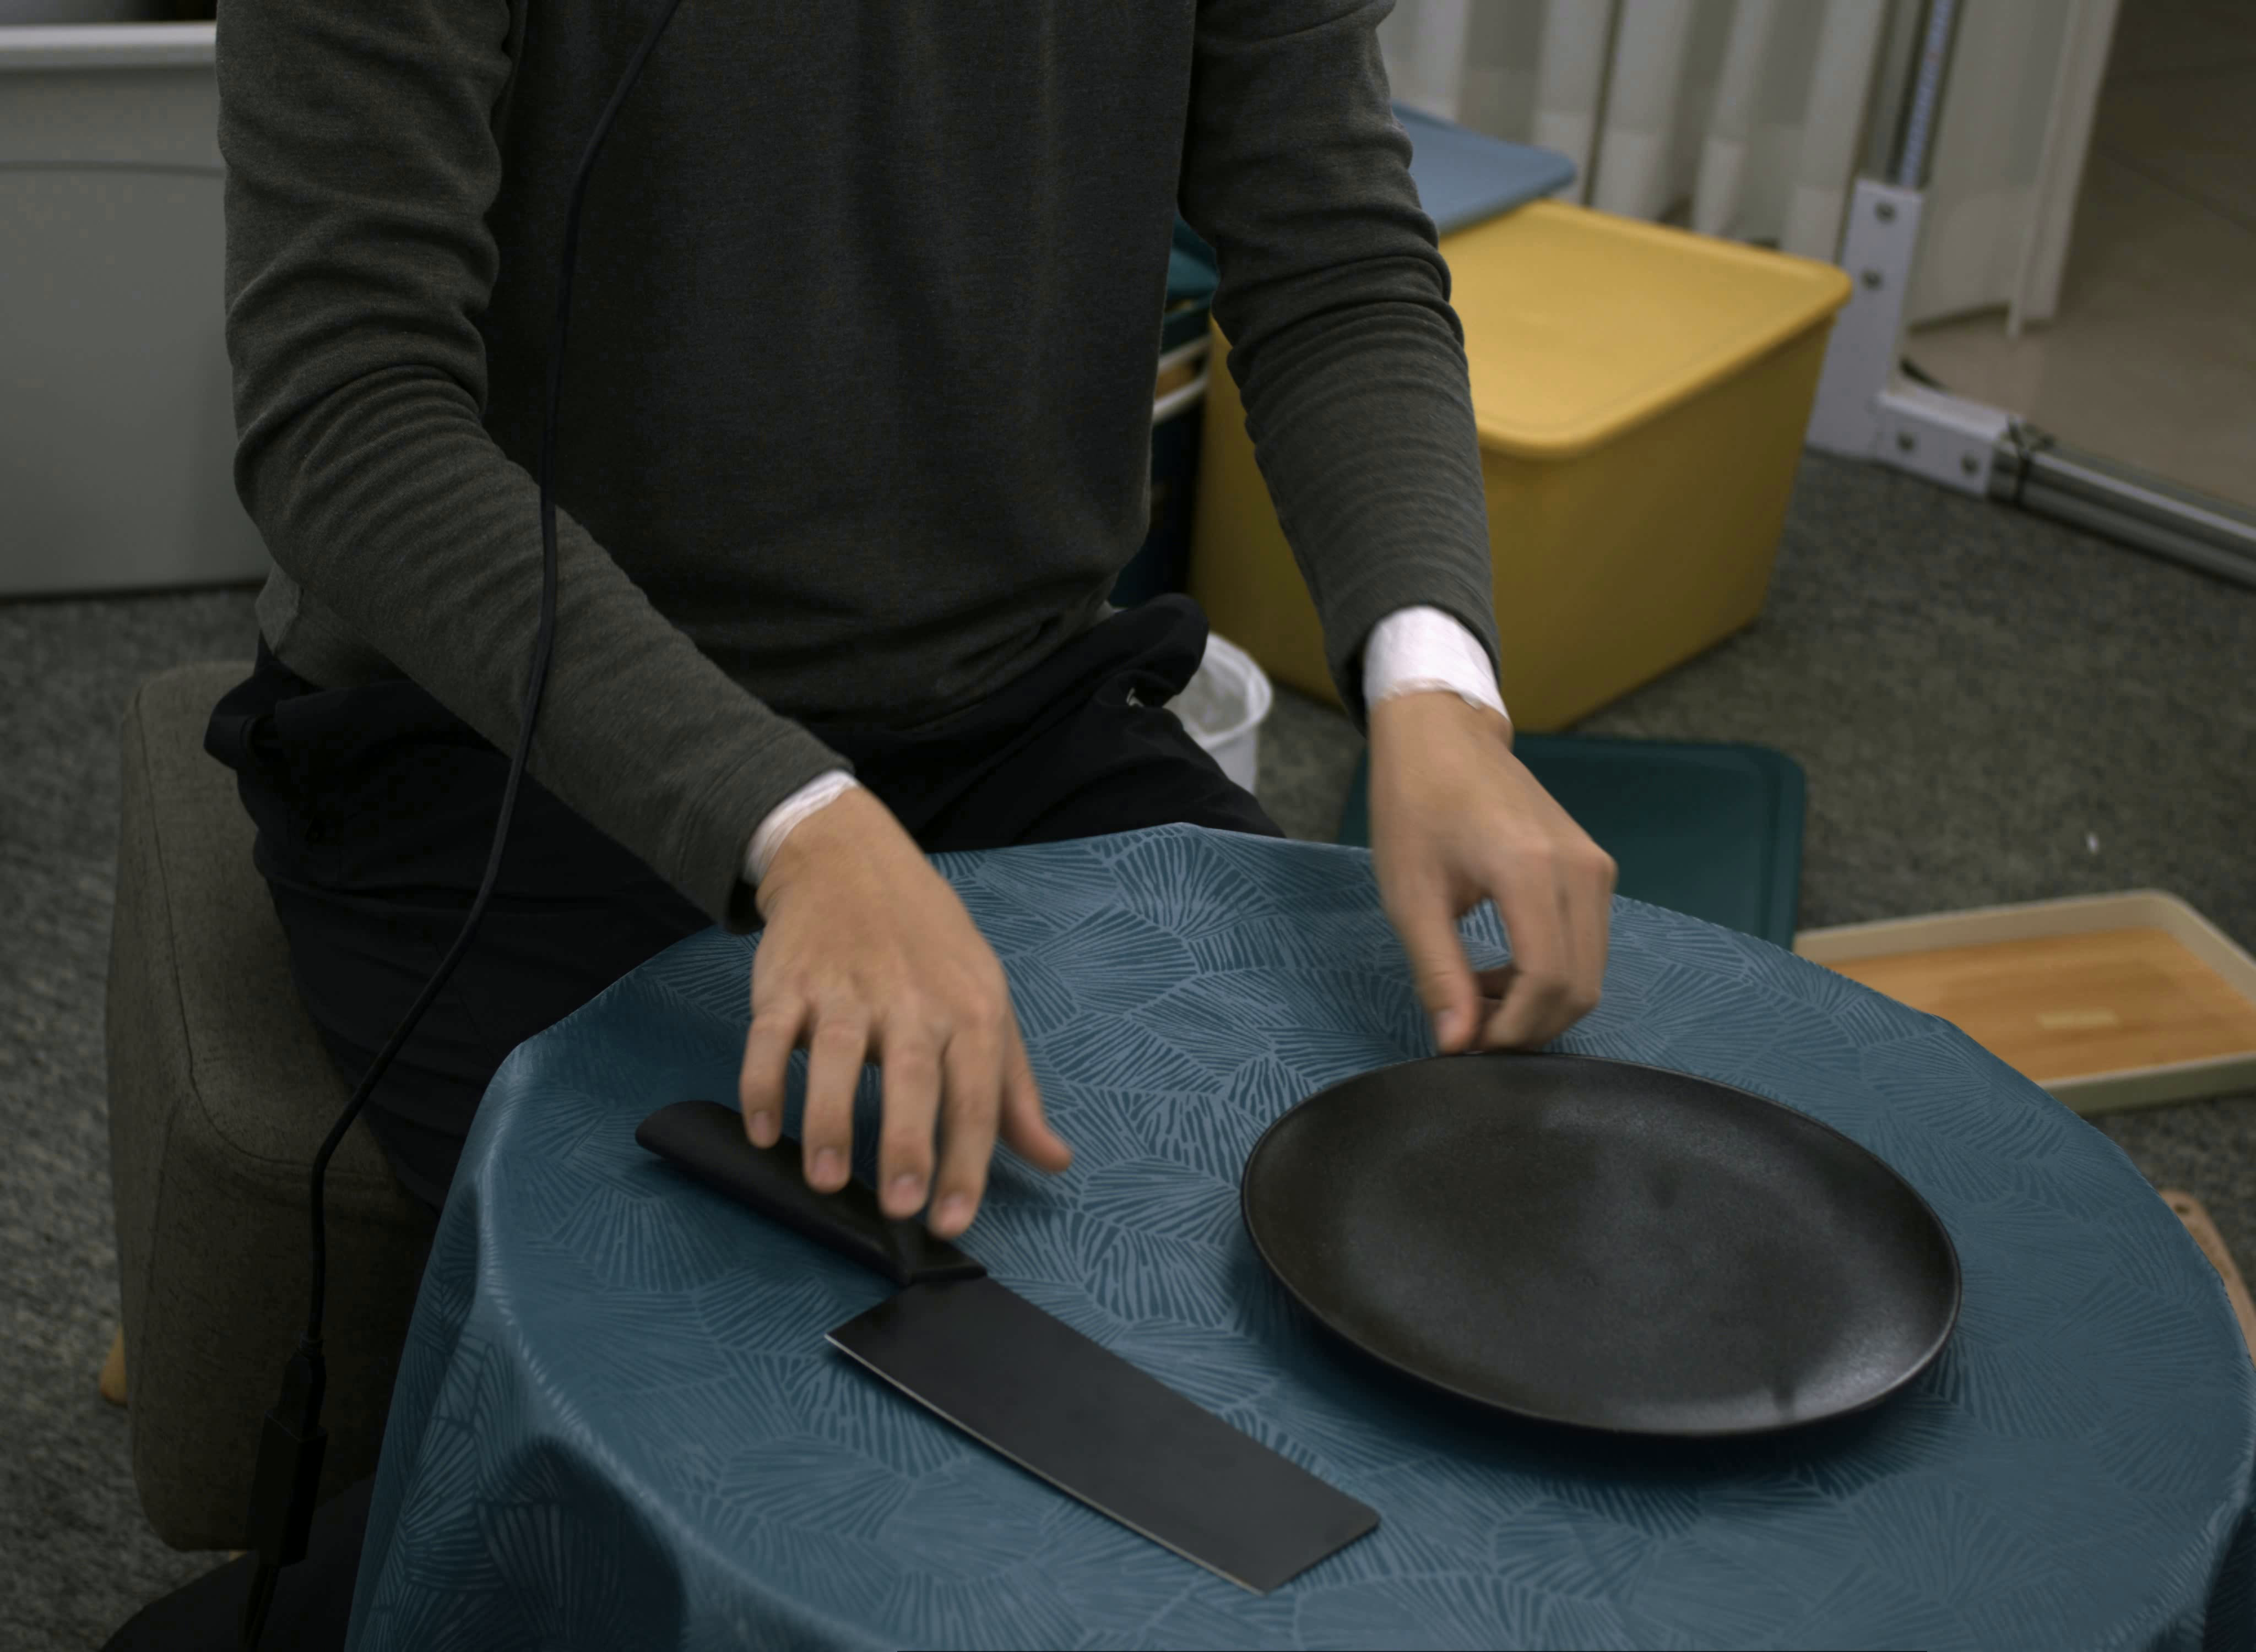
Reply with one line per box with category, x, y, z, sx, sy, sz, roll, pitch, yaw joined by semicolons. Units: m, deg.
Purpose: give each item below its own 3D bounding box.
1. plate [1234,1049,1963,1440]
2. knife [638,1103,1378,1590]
plate;0.156;0.144;1.776;0.243;0.023;0.246;5;27;-3
knife;-0.050;0.163;1.702;0.080;0.021;0.304;-20;39;-41
